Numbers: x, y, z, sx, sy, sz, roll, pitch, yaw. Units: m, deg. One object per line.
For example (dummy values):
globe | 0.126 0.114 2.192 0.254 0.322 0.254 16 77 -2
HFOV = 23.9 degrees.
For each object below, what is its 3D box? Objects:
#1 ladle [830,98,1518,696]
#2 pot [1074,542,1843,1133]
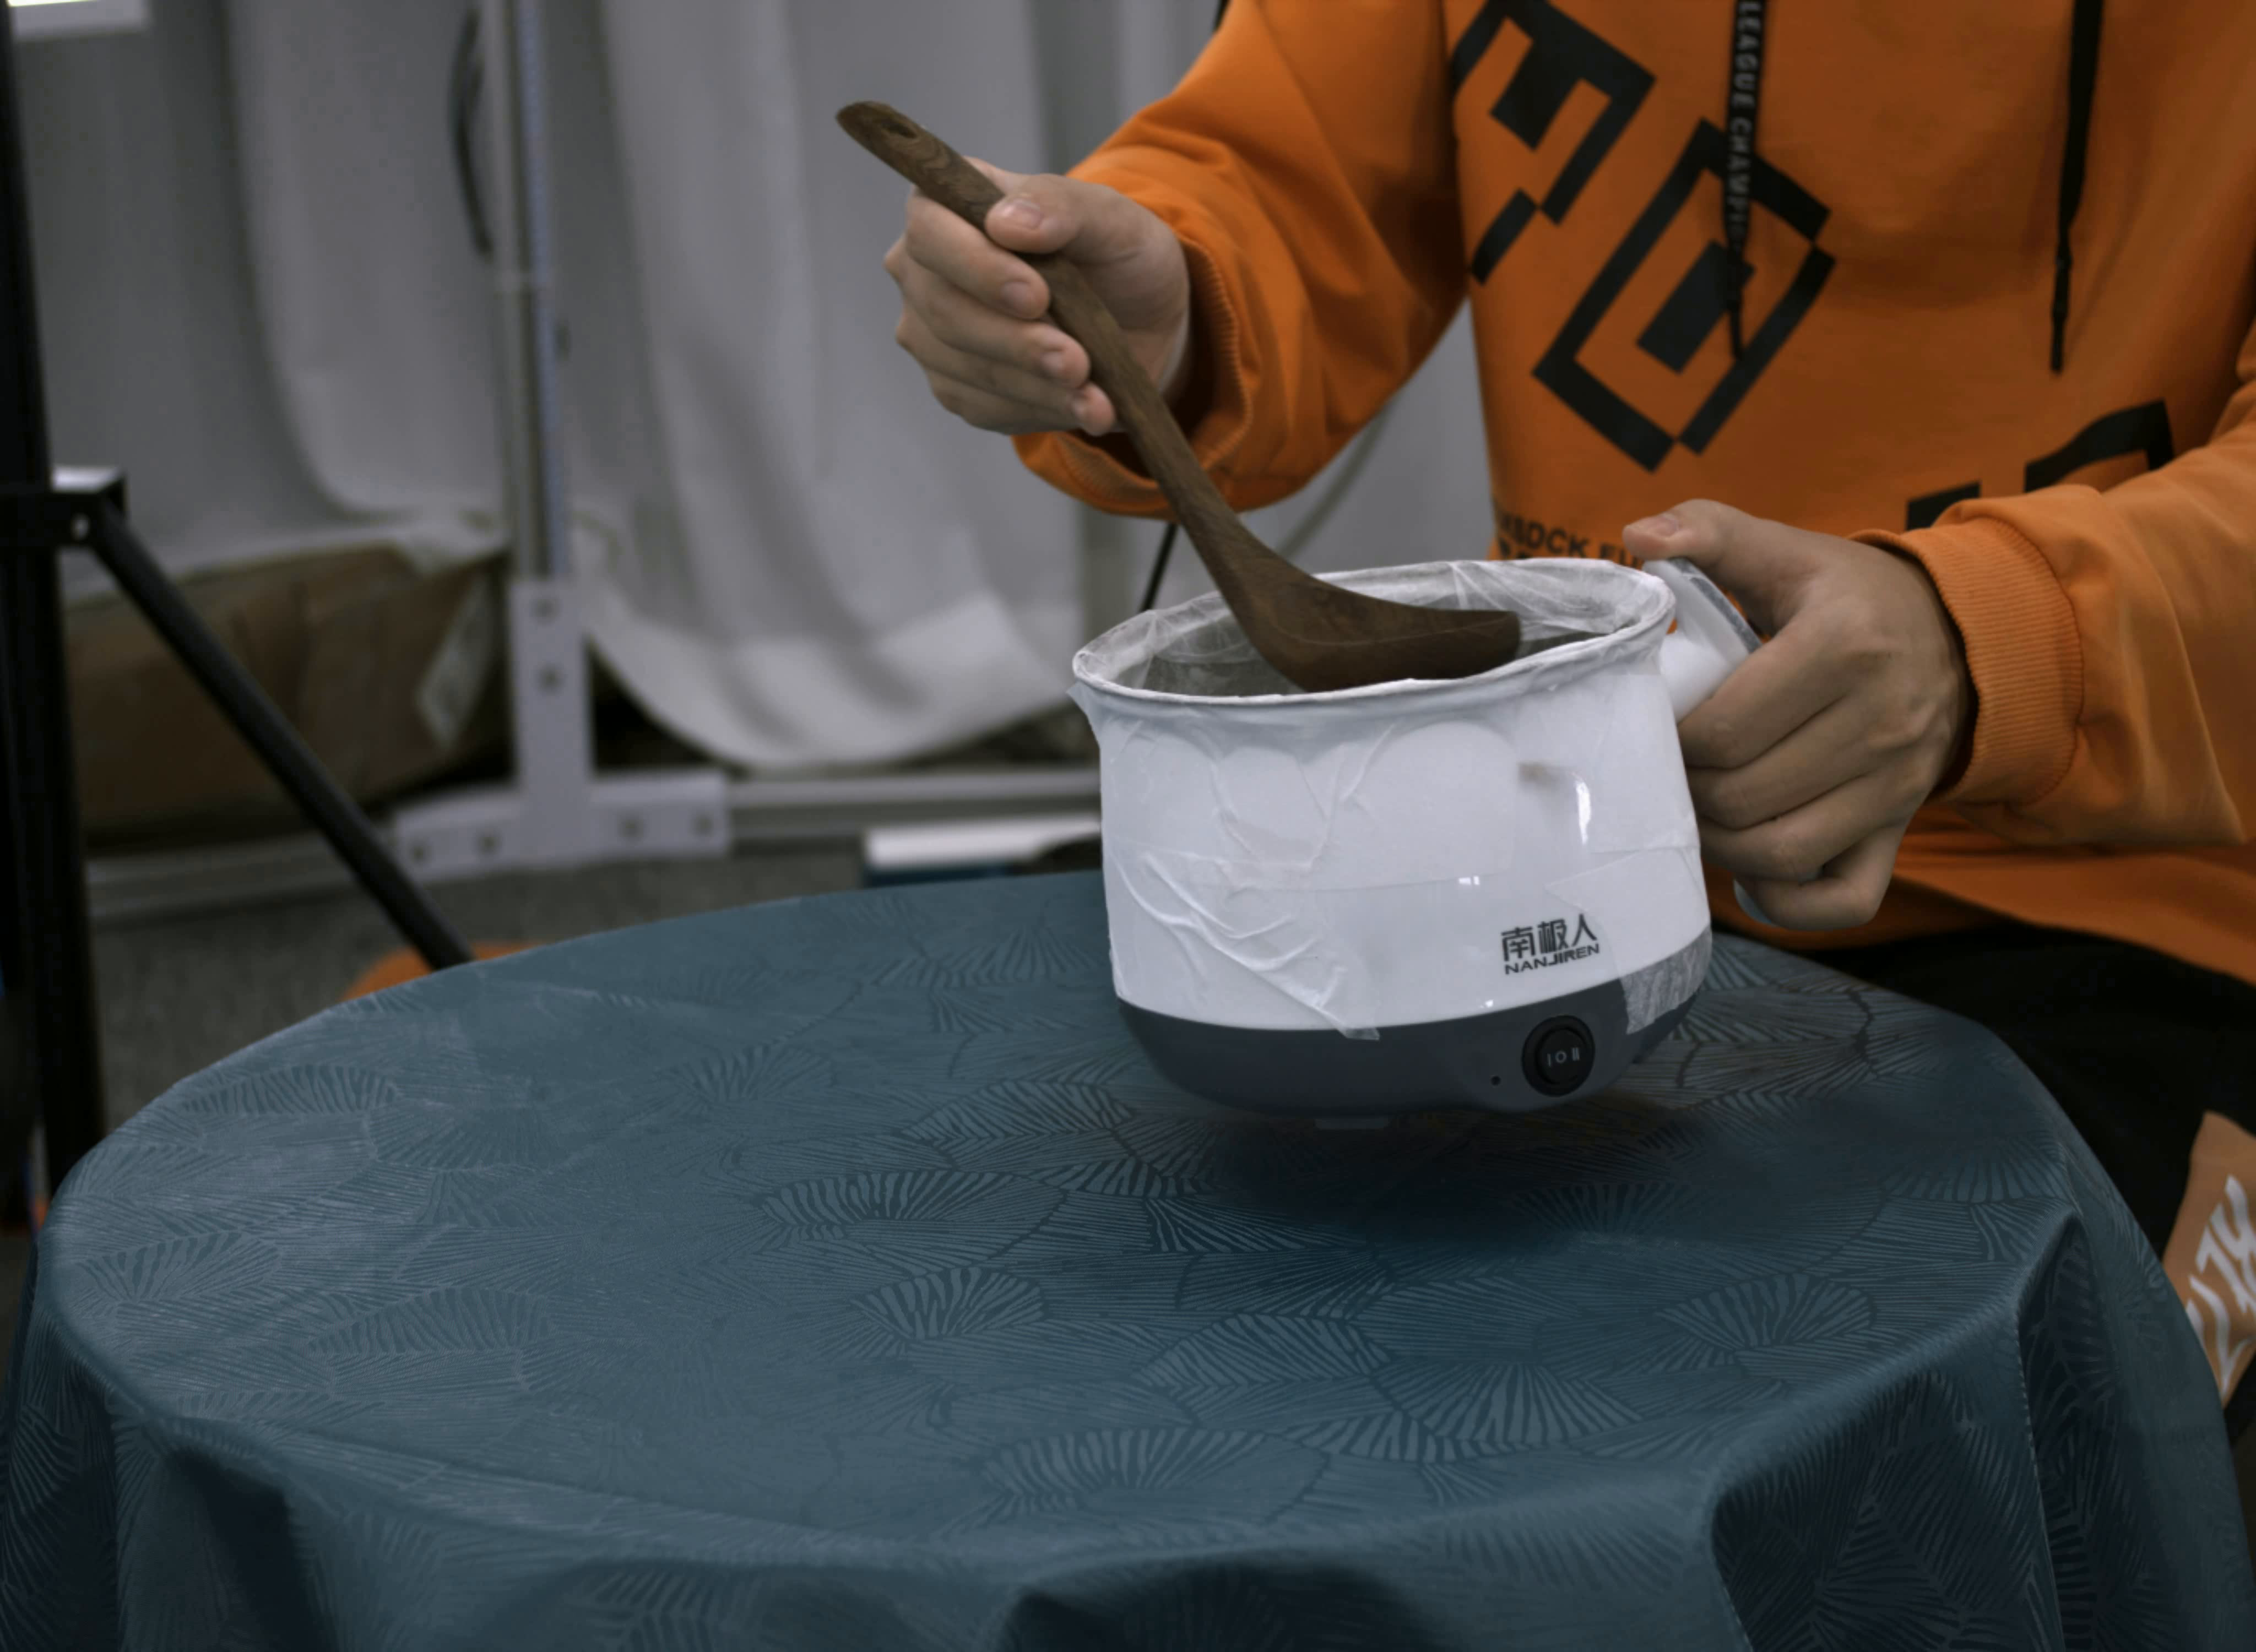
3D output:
ladle | 0.013 -0.139 1.598 0.277 0.072 0.074 53 29 17
pot | 0.104 -0.003 1.567 0.229 0.136 0.182 -13 15 -23
